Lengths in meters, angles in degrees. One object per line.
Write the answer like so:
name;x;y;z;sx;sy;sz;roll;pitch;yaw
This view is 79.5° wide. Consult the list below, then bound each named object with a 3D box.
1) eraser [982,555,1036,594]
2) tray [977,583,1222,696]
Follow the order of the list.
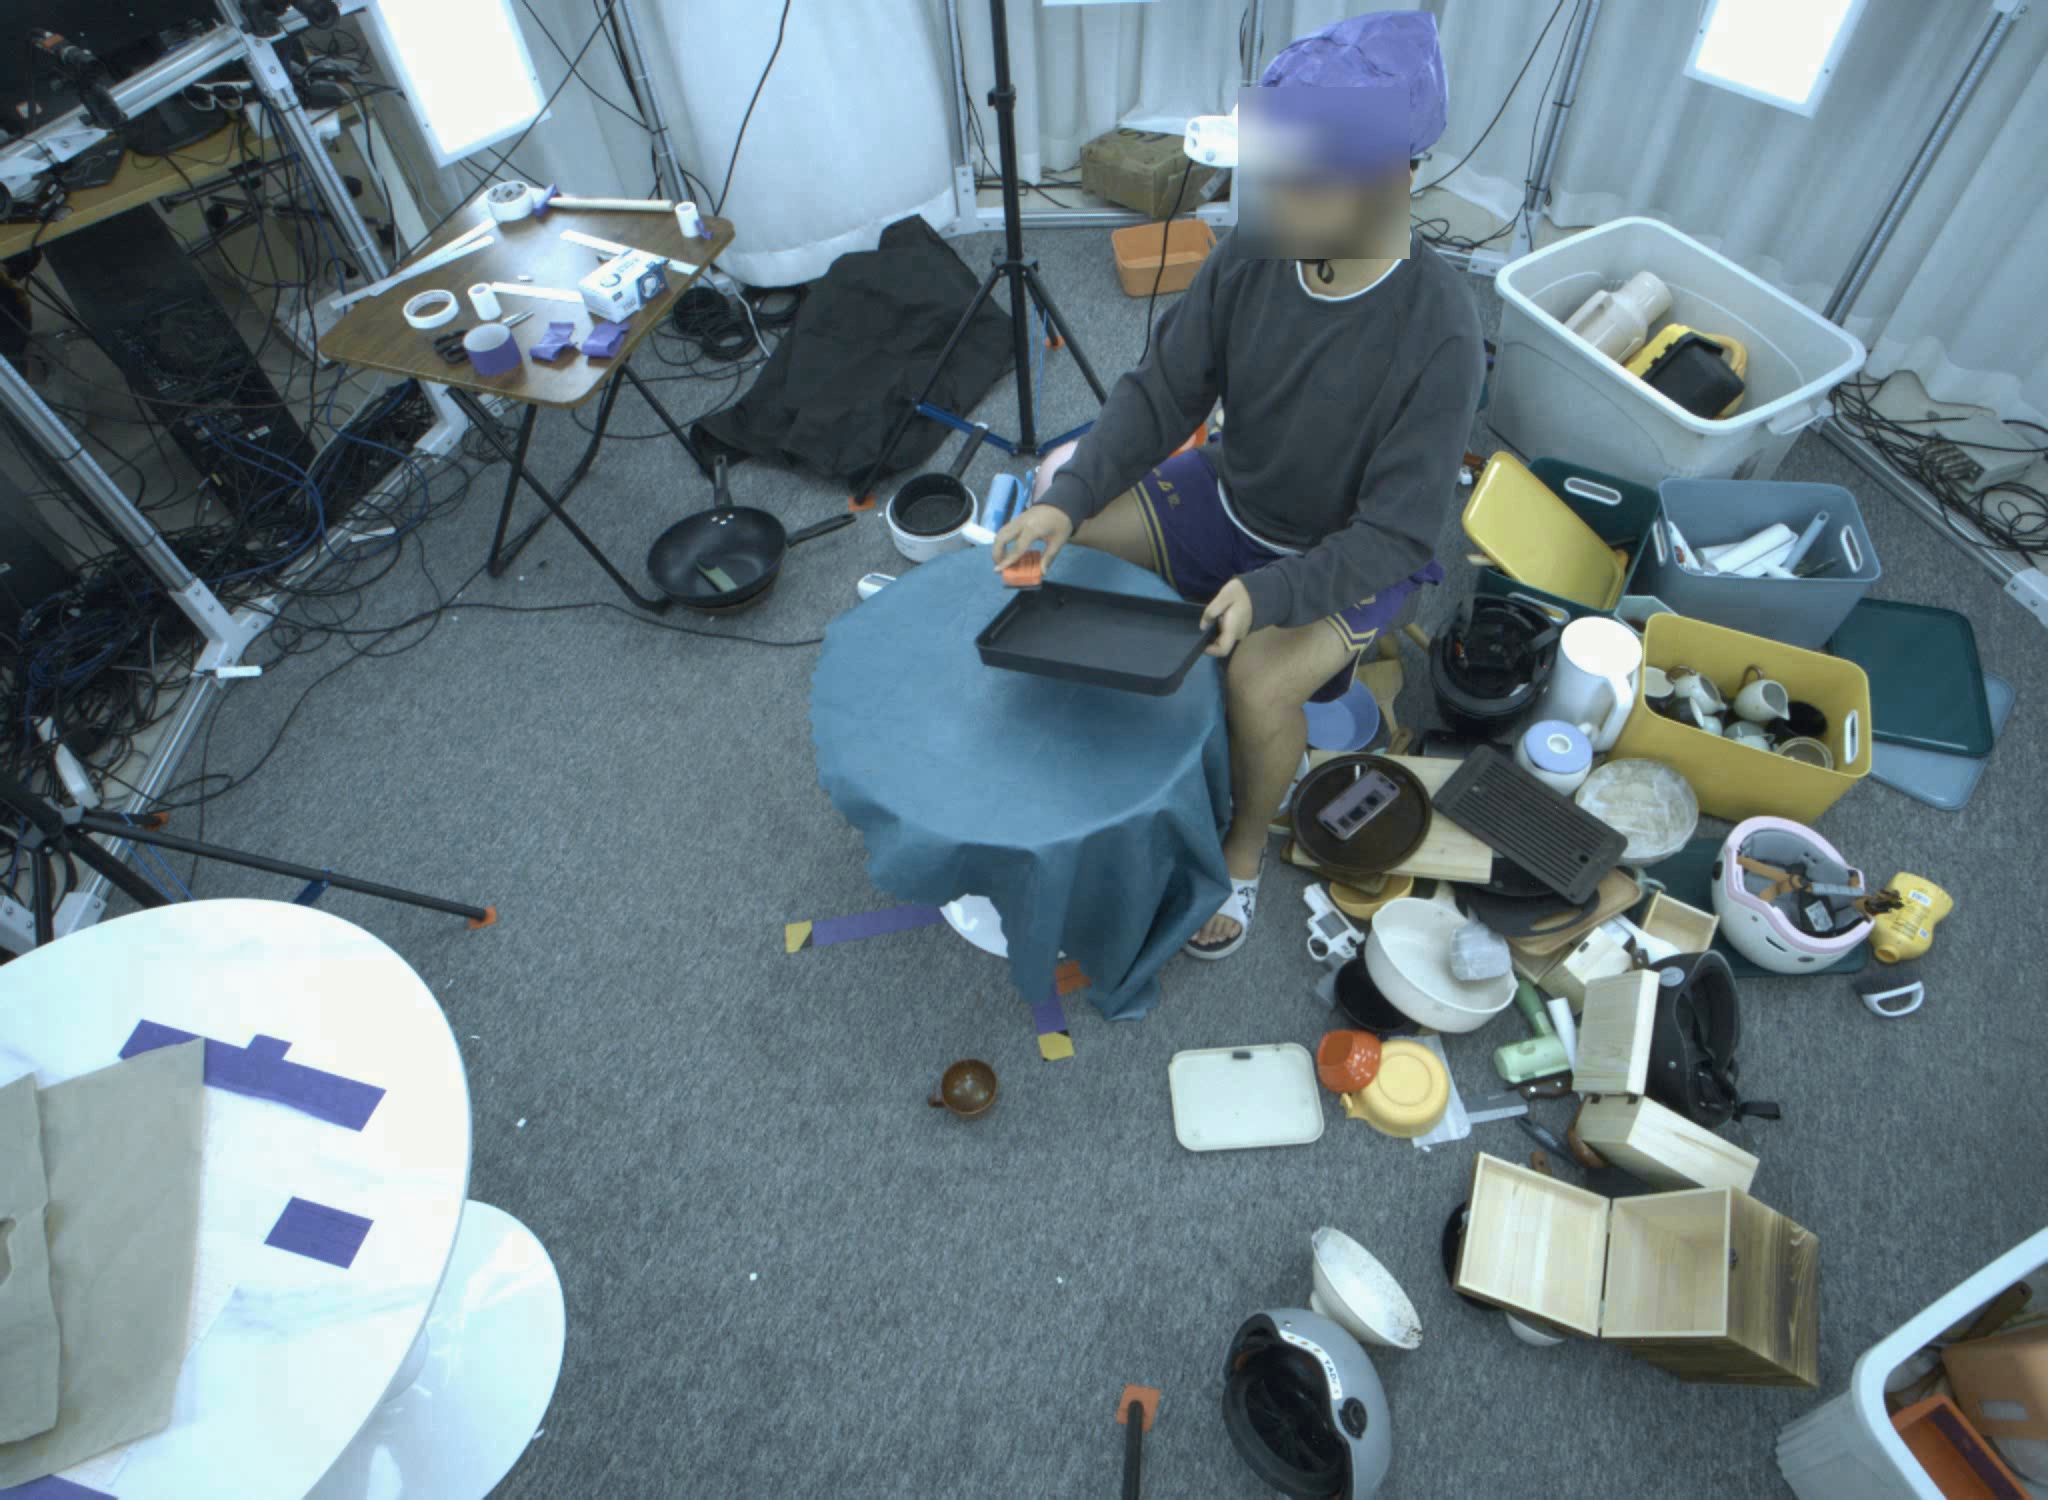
eraser;-0.024;-0.267;1.860;0.059;0.023;0.106;-14;29;-14
tray;0.107;-0.161;1.741;0.312;0.037;0.185;11;43;27
